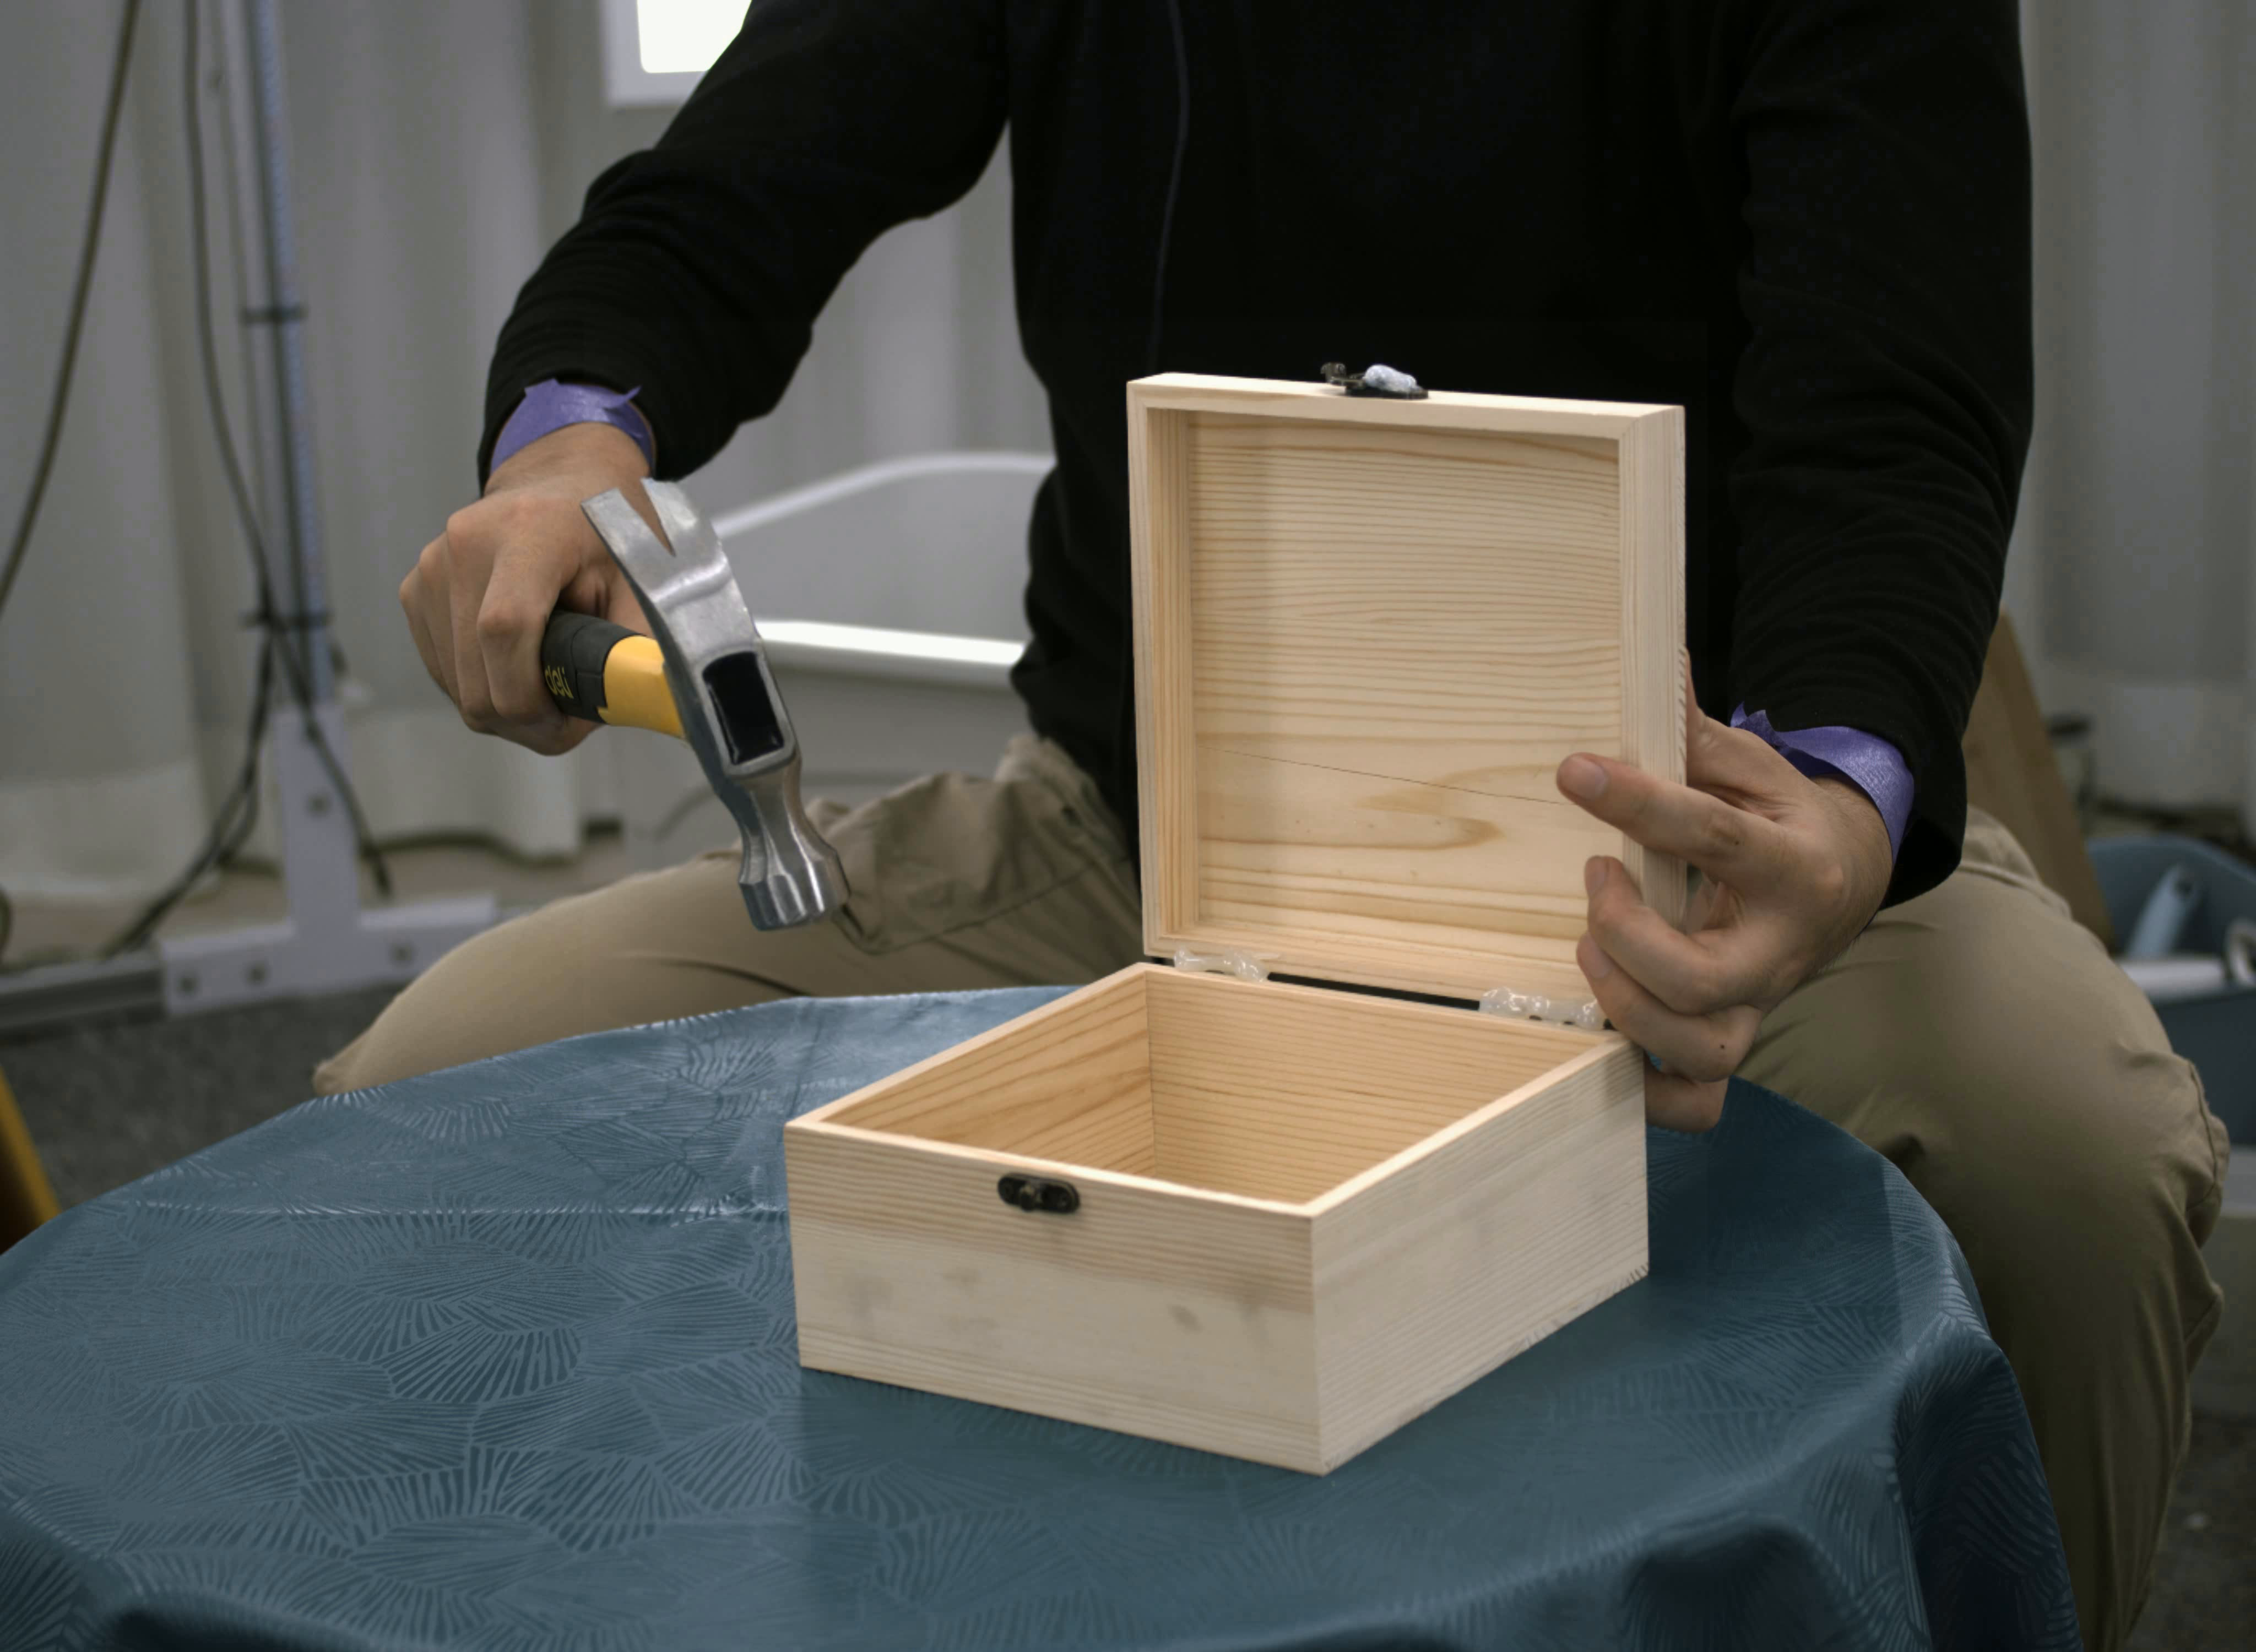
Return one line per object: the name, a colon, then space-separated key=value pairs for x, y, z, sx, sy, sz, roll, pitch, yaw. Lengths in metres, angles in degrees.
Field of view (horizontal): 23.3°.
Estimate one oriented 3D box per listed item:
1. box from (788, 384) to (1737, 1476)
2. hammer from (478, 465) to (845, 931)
box: x=0.042 y=0.017 z=1.592 sx=0.182 sy=0.252 sz=0.265 roll=4 pitch=16 yaw=34
hammer: x=-0.158 y=-0.047 z=1.711 sx=0.032 sy=0.131 sz=0.340 roll=-20 pitch=9 yaw=-15
